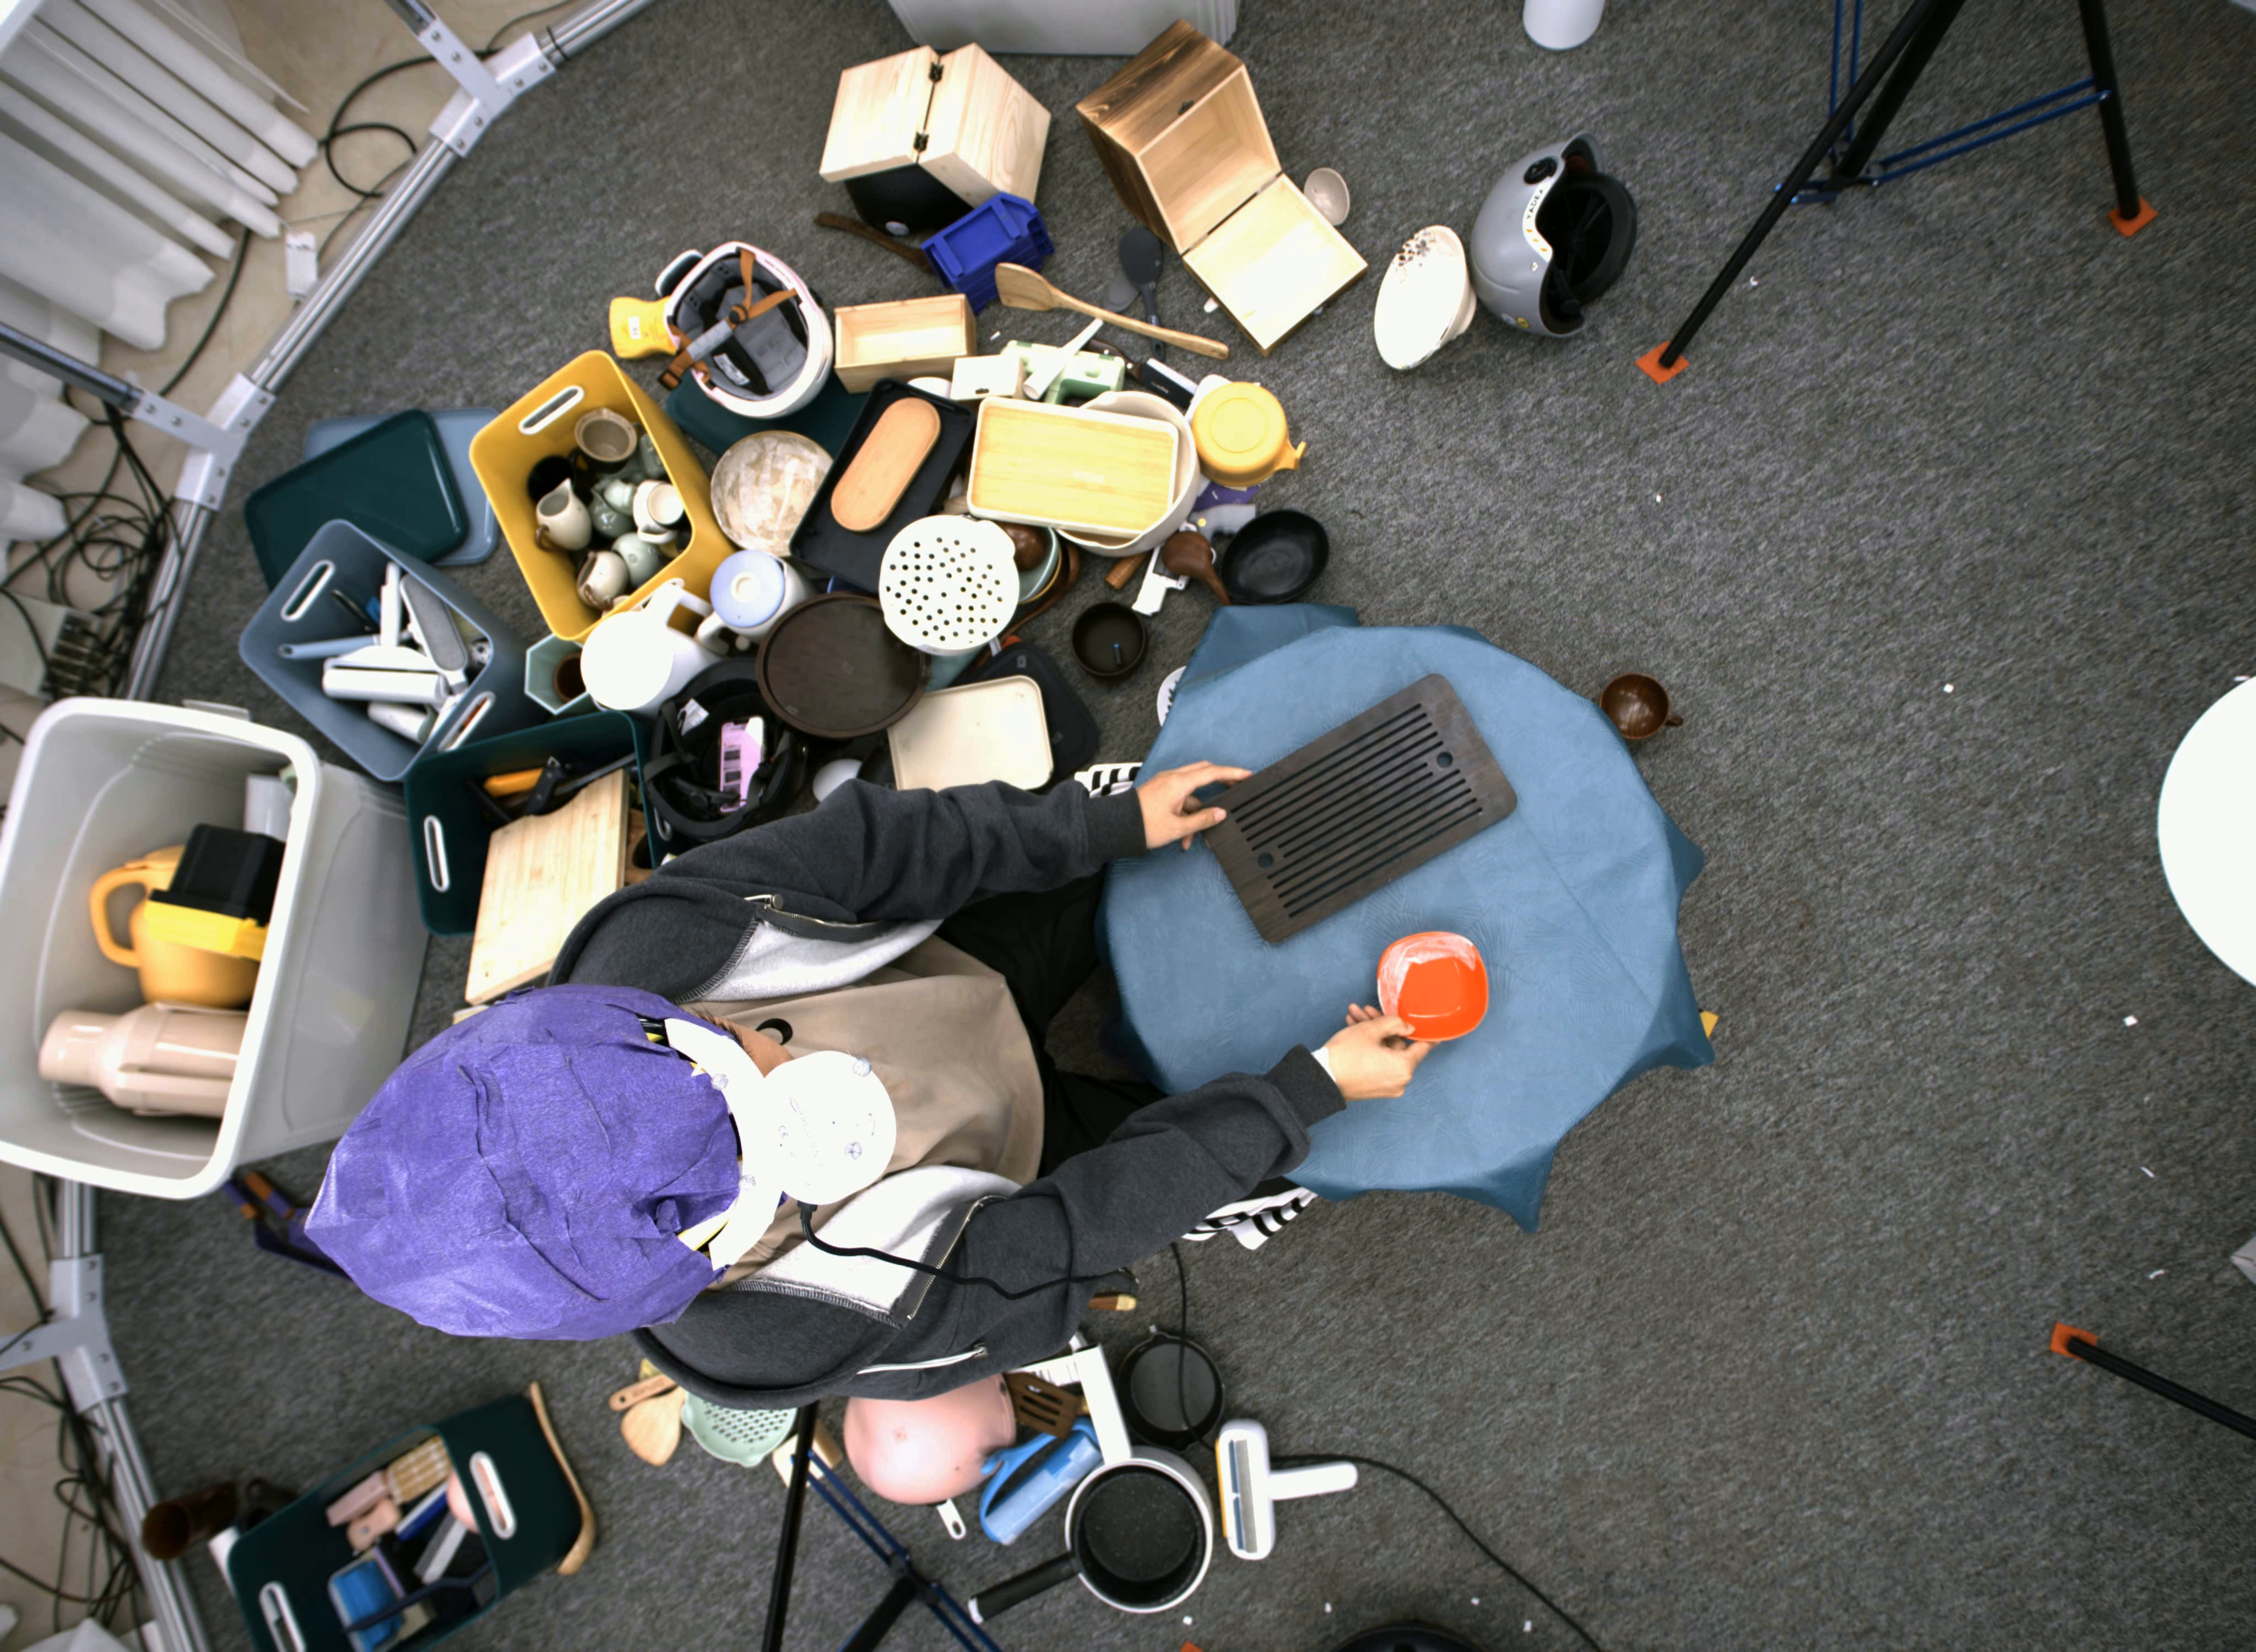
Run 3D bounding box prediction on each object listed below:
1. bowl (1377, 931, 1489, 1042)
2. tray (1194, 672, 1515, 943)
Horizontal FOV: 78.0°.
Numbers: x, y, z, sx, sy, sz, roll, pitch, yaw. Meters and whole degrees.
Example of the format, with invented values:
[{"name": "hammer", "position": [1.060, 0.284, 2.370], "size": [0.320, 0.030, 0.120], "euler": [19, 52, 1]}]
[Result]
[{"name": "bowl", "position": [0.310, 0.162, 1.414], "size": [0.119, 0.051, 0.118], "euler": [-1, 87, 8]}, {"name": "tray", "position": [0.237, -0.020, 1.458], "size": [0.307, 0.018, 0.169], "euler": [-30, 84, 7]}]
